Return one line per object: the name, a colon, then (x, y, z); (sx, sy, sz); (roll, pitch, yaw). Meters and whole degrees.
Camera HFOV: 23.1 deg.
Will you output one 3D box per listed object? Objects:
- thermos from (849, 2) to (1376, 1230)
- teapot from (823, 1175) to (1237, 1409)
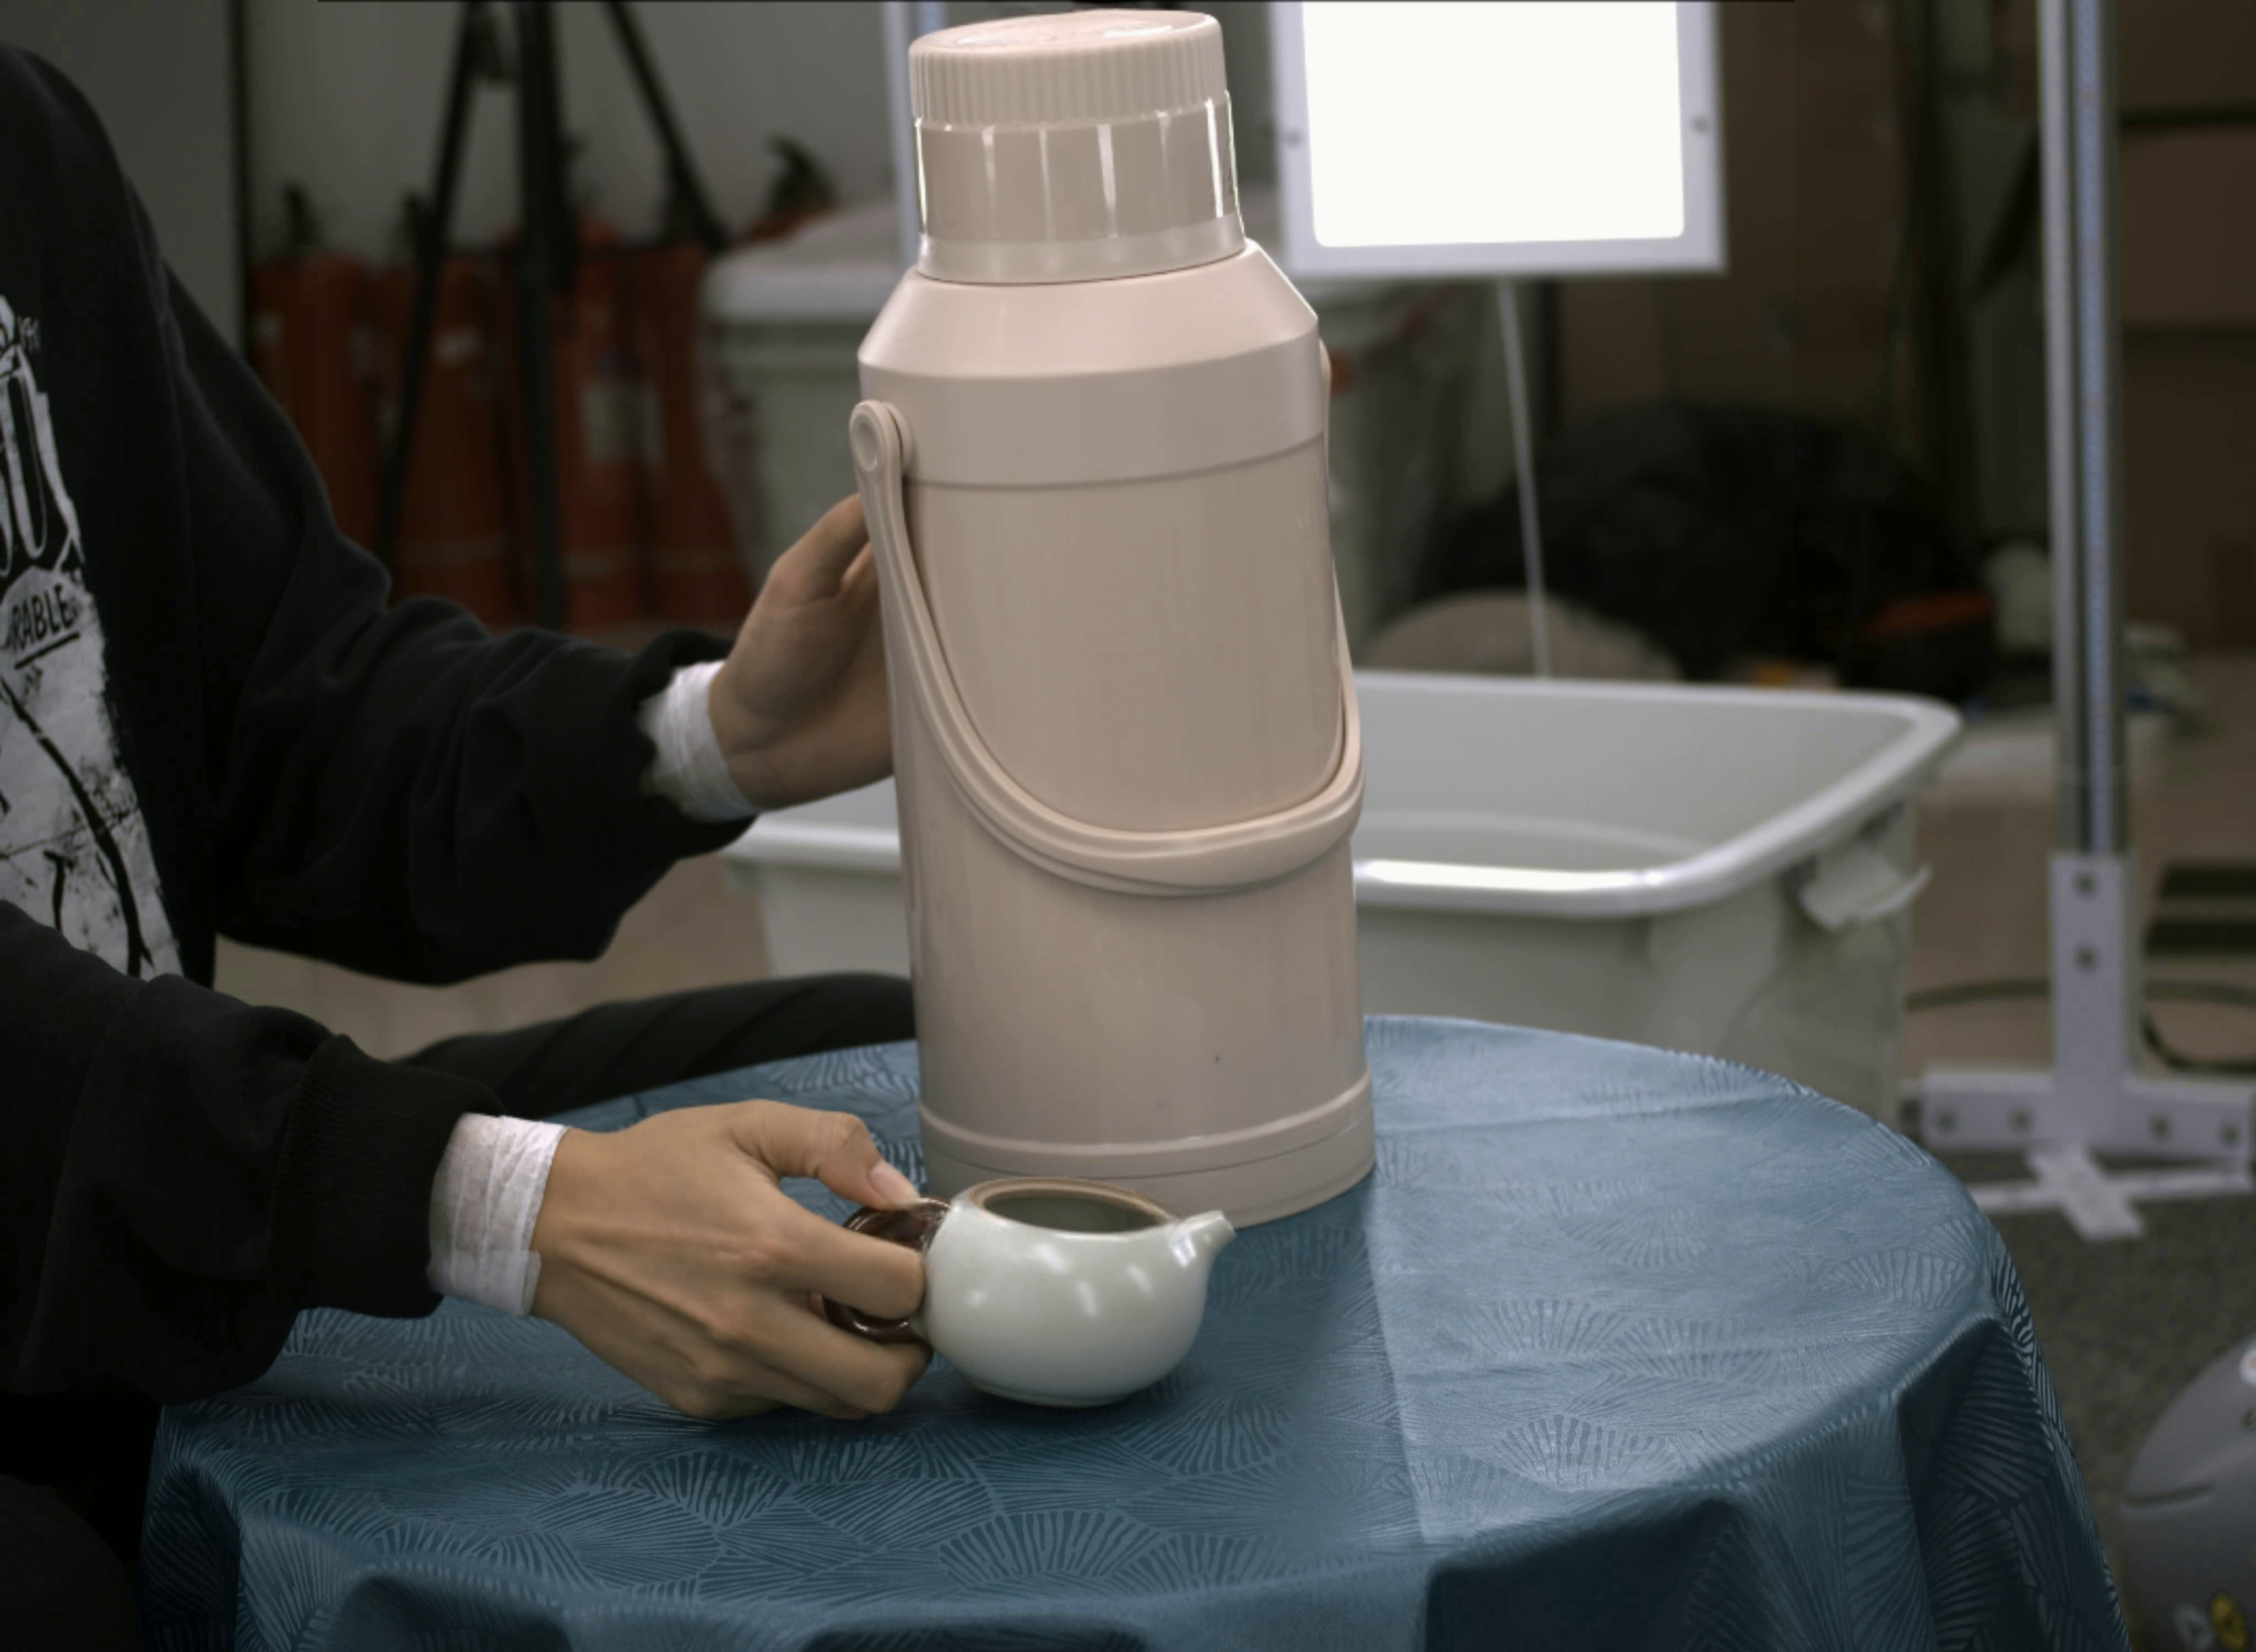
thermos: (-0.013, -0.074, 1.886); (0.171, 0.408, 0.211); (-14, 17, -28)
teapot: (-0.031, 0.143, 1.698); (0.126, 0.060, 0.092); (4, 14, -10)
